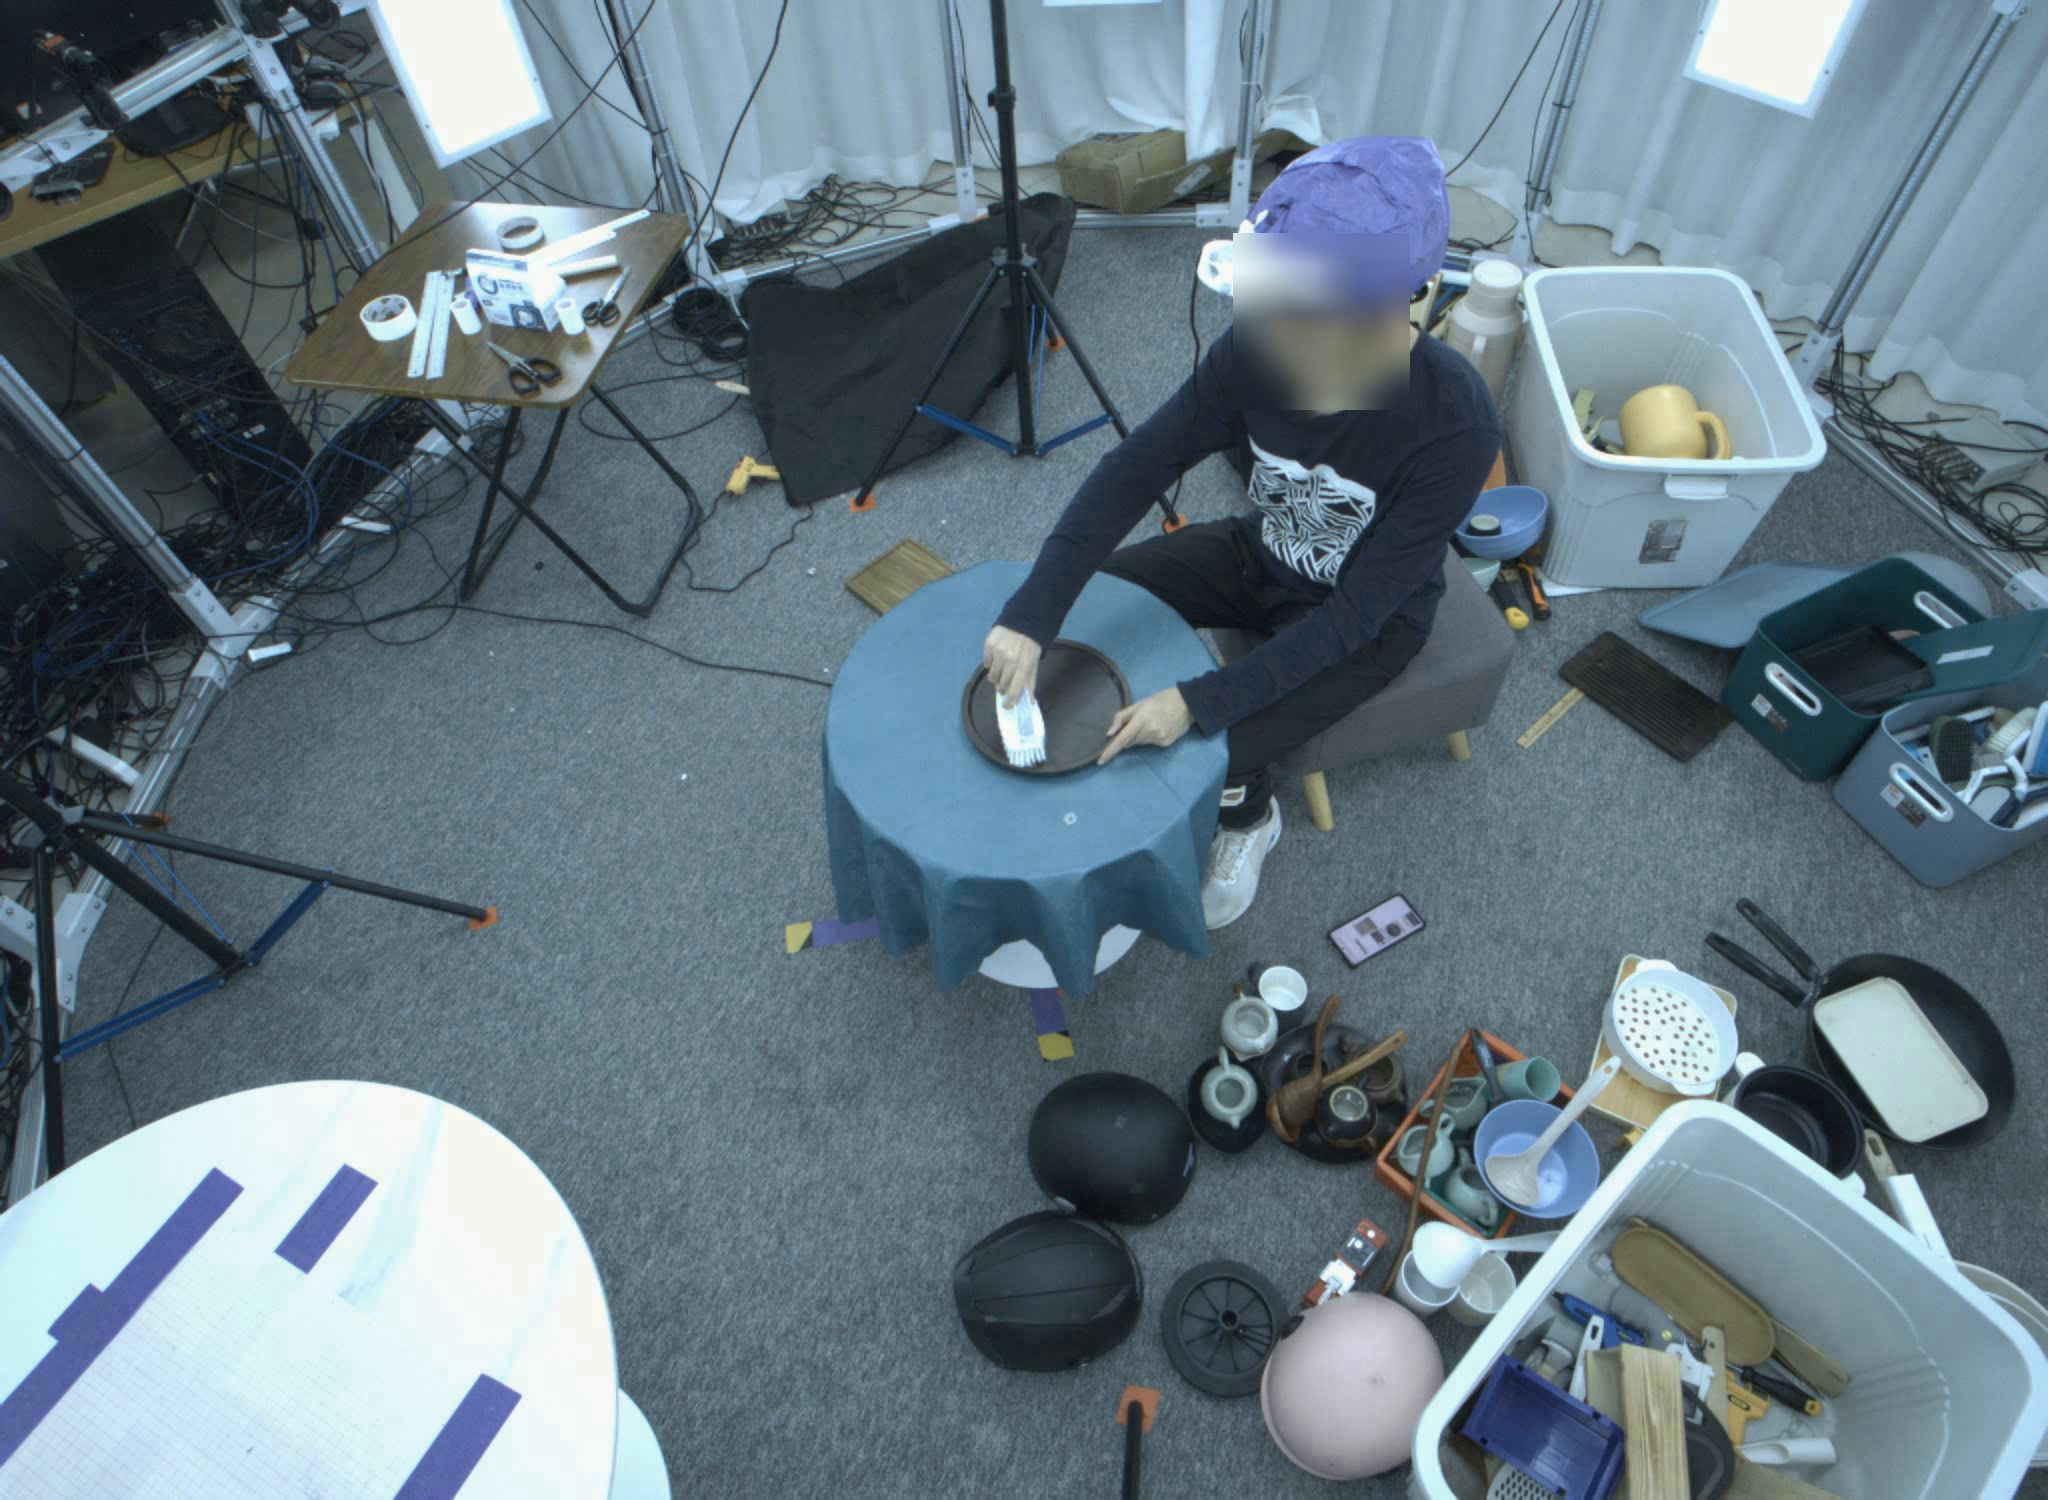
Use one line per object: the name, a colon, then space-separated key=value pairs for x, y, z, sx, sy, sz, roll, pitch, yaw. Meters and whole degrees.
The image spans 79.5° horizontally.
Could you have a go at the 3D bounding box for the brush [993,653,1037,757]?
brush: x=-0.017 y=-0.081 z=1.754 sx=0.061 sy=0.095 sz=0.173 roll=-5 pitch=50 yaw=-3

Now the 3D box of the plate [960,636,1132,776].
plate: x=0.032 y=-0.066 z=1.812 sx=0.254 sy=0.029 sz=0.252 roll=-1 pitch=55 yaw=3
